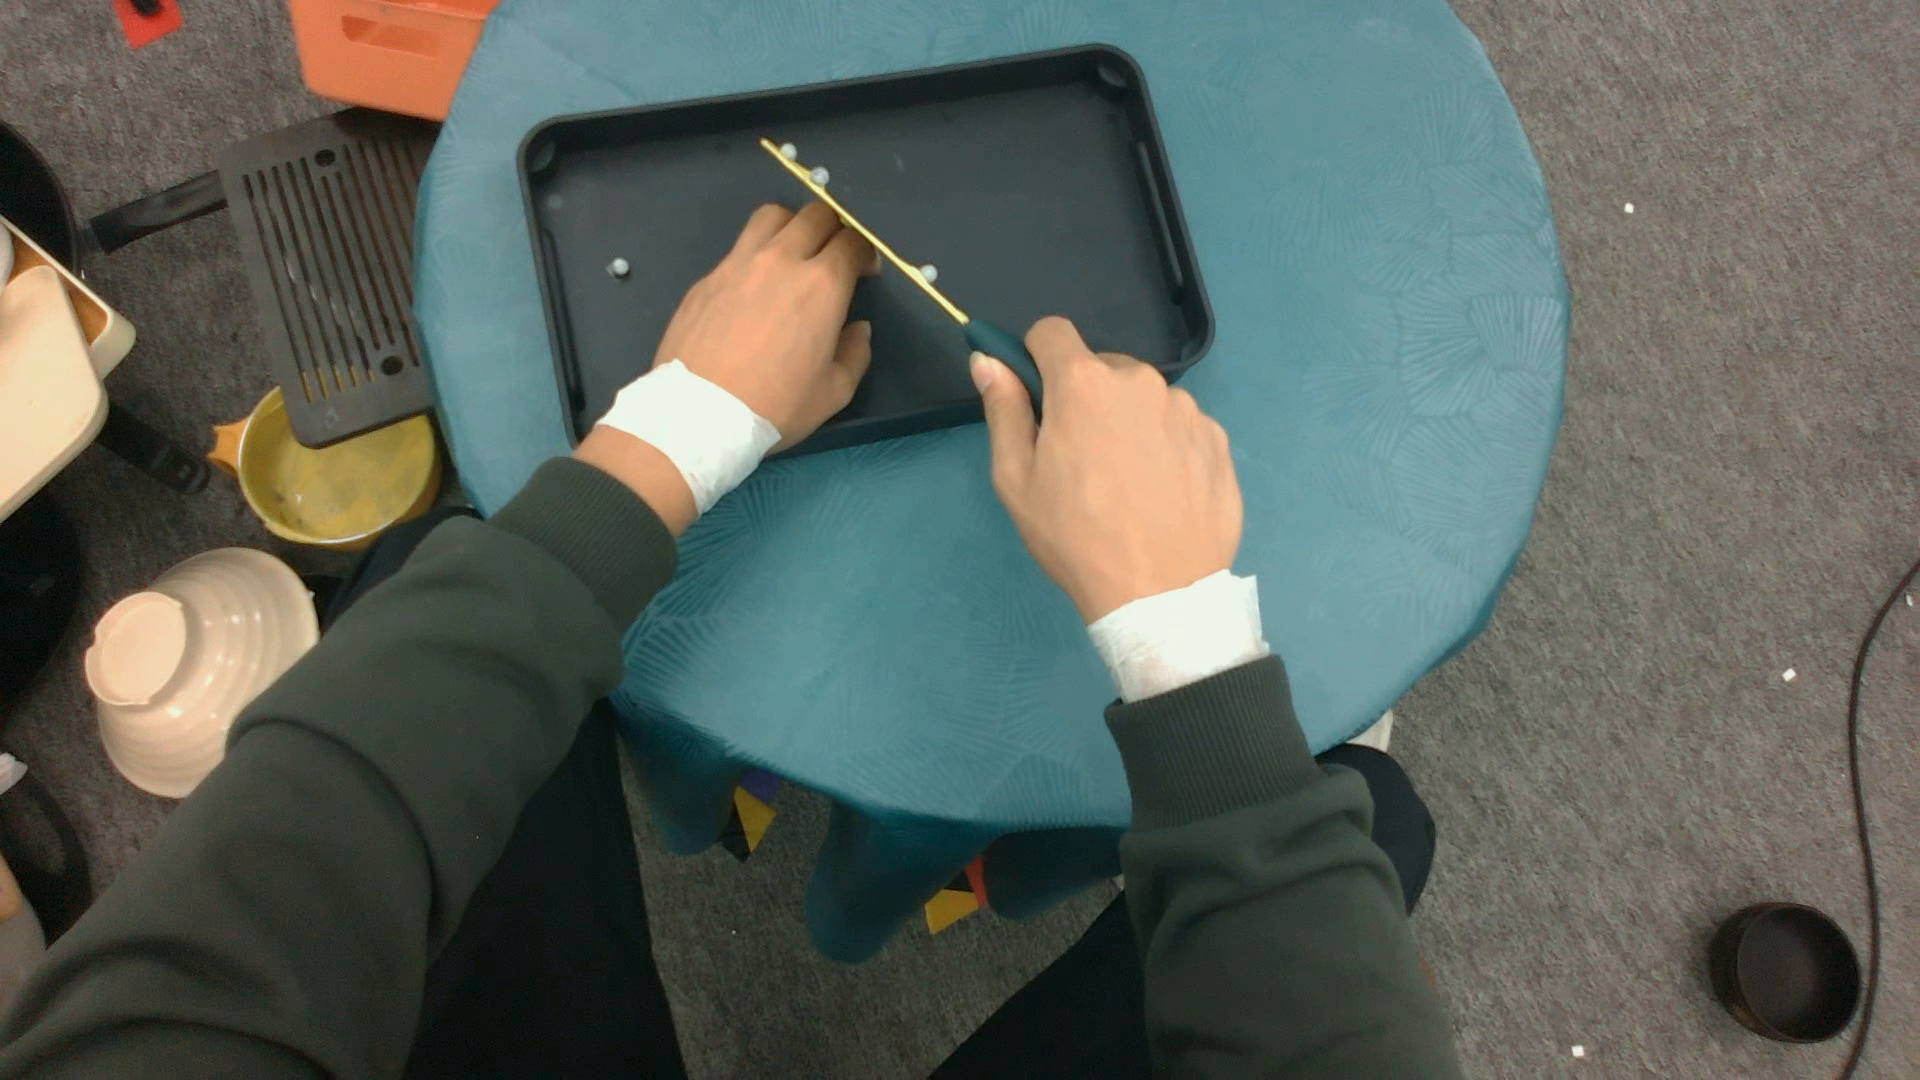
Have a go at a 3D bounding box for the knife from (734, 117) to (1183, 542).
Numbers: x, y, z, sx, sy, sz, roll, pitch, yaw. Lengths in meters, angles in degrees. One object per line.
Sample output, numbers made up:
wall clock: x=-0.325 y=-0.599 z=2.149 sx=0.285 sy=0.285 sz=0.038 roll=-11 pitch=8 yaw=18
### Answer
knife: x=-0.007 y=-0.102 z=0.619 sx=0.289 sy=0.081 sz=0.027 roll=45 pitch=99 yaw=16

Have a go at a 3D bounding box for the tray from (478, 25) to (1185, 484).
tray: x=-0.061 y=-0.146 z=0.685 sx=0.318 sy=0.037 sz=0.184 roll=-14 pitch=78 yaw=-11
